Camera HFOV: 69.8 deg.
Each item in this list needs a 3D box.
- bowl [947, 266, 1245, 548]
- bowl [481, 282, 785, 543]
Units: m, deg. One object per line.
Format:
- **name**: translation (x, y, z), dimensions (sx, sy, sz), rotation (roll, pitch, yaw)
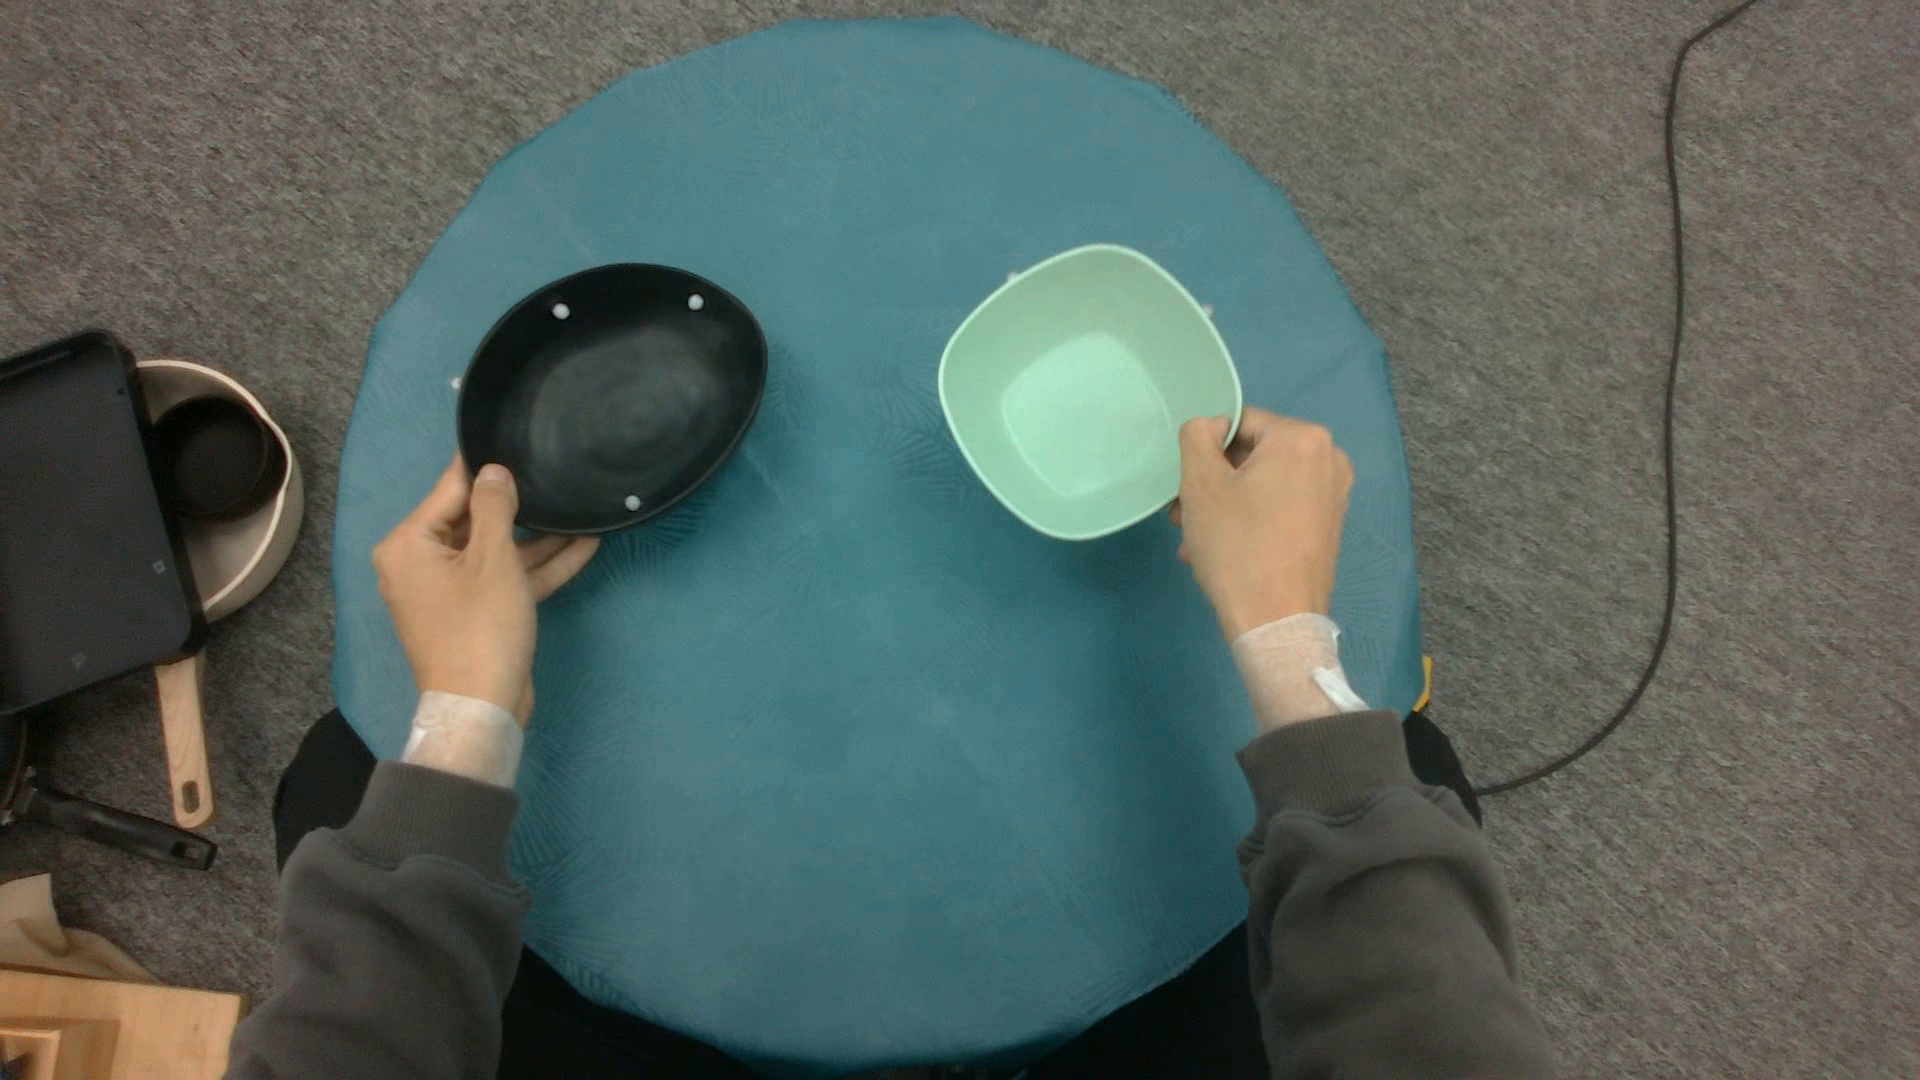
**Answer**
- **bowl**: translation (0.071, -0.063, 0.723), dimensions (0.151, 0.058, 0.152), rotation (-1, 76, 5)
- **bowl**: translation (-0.176, -0.066, 0.759), dimensions (0.170, 0.066, 0.137), rotation (-40, 81, -13)
